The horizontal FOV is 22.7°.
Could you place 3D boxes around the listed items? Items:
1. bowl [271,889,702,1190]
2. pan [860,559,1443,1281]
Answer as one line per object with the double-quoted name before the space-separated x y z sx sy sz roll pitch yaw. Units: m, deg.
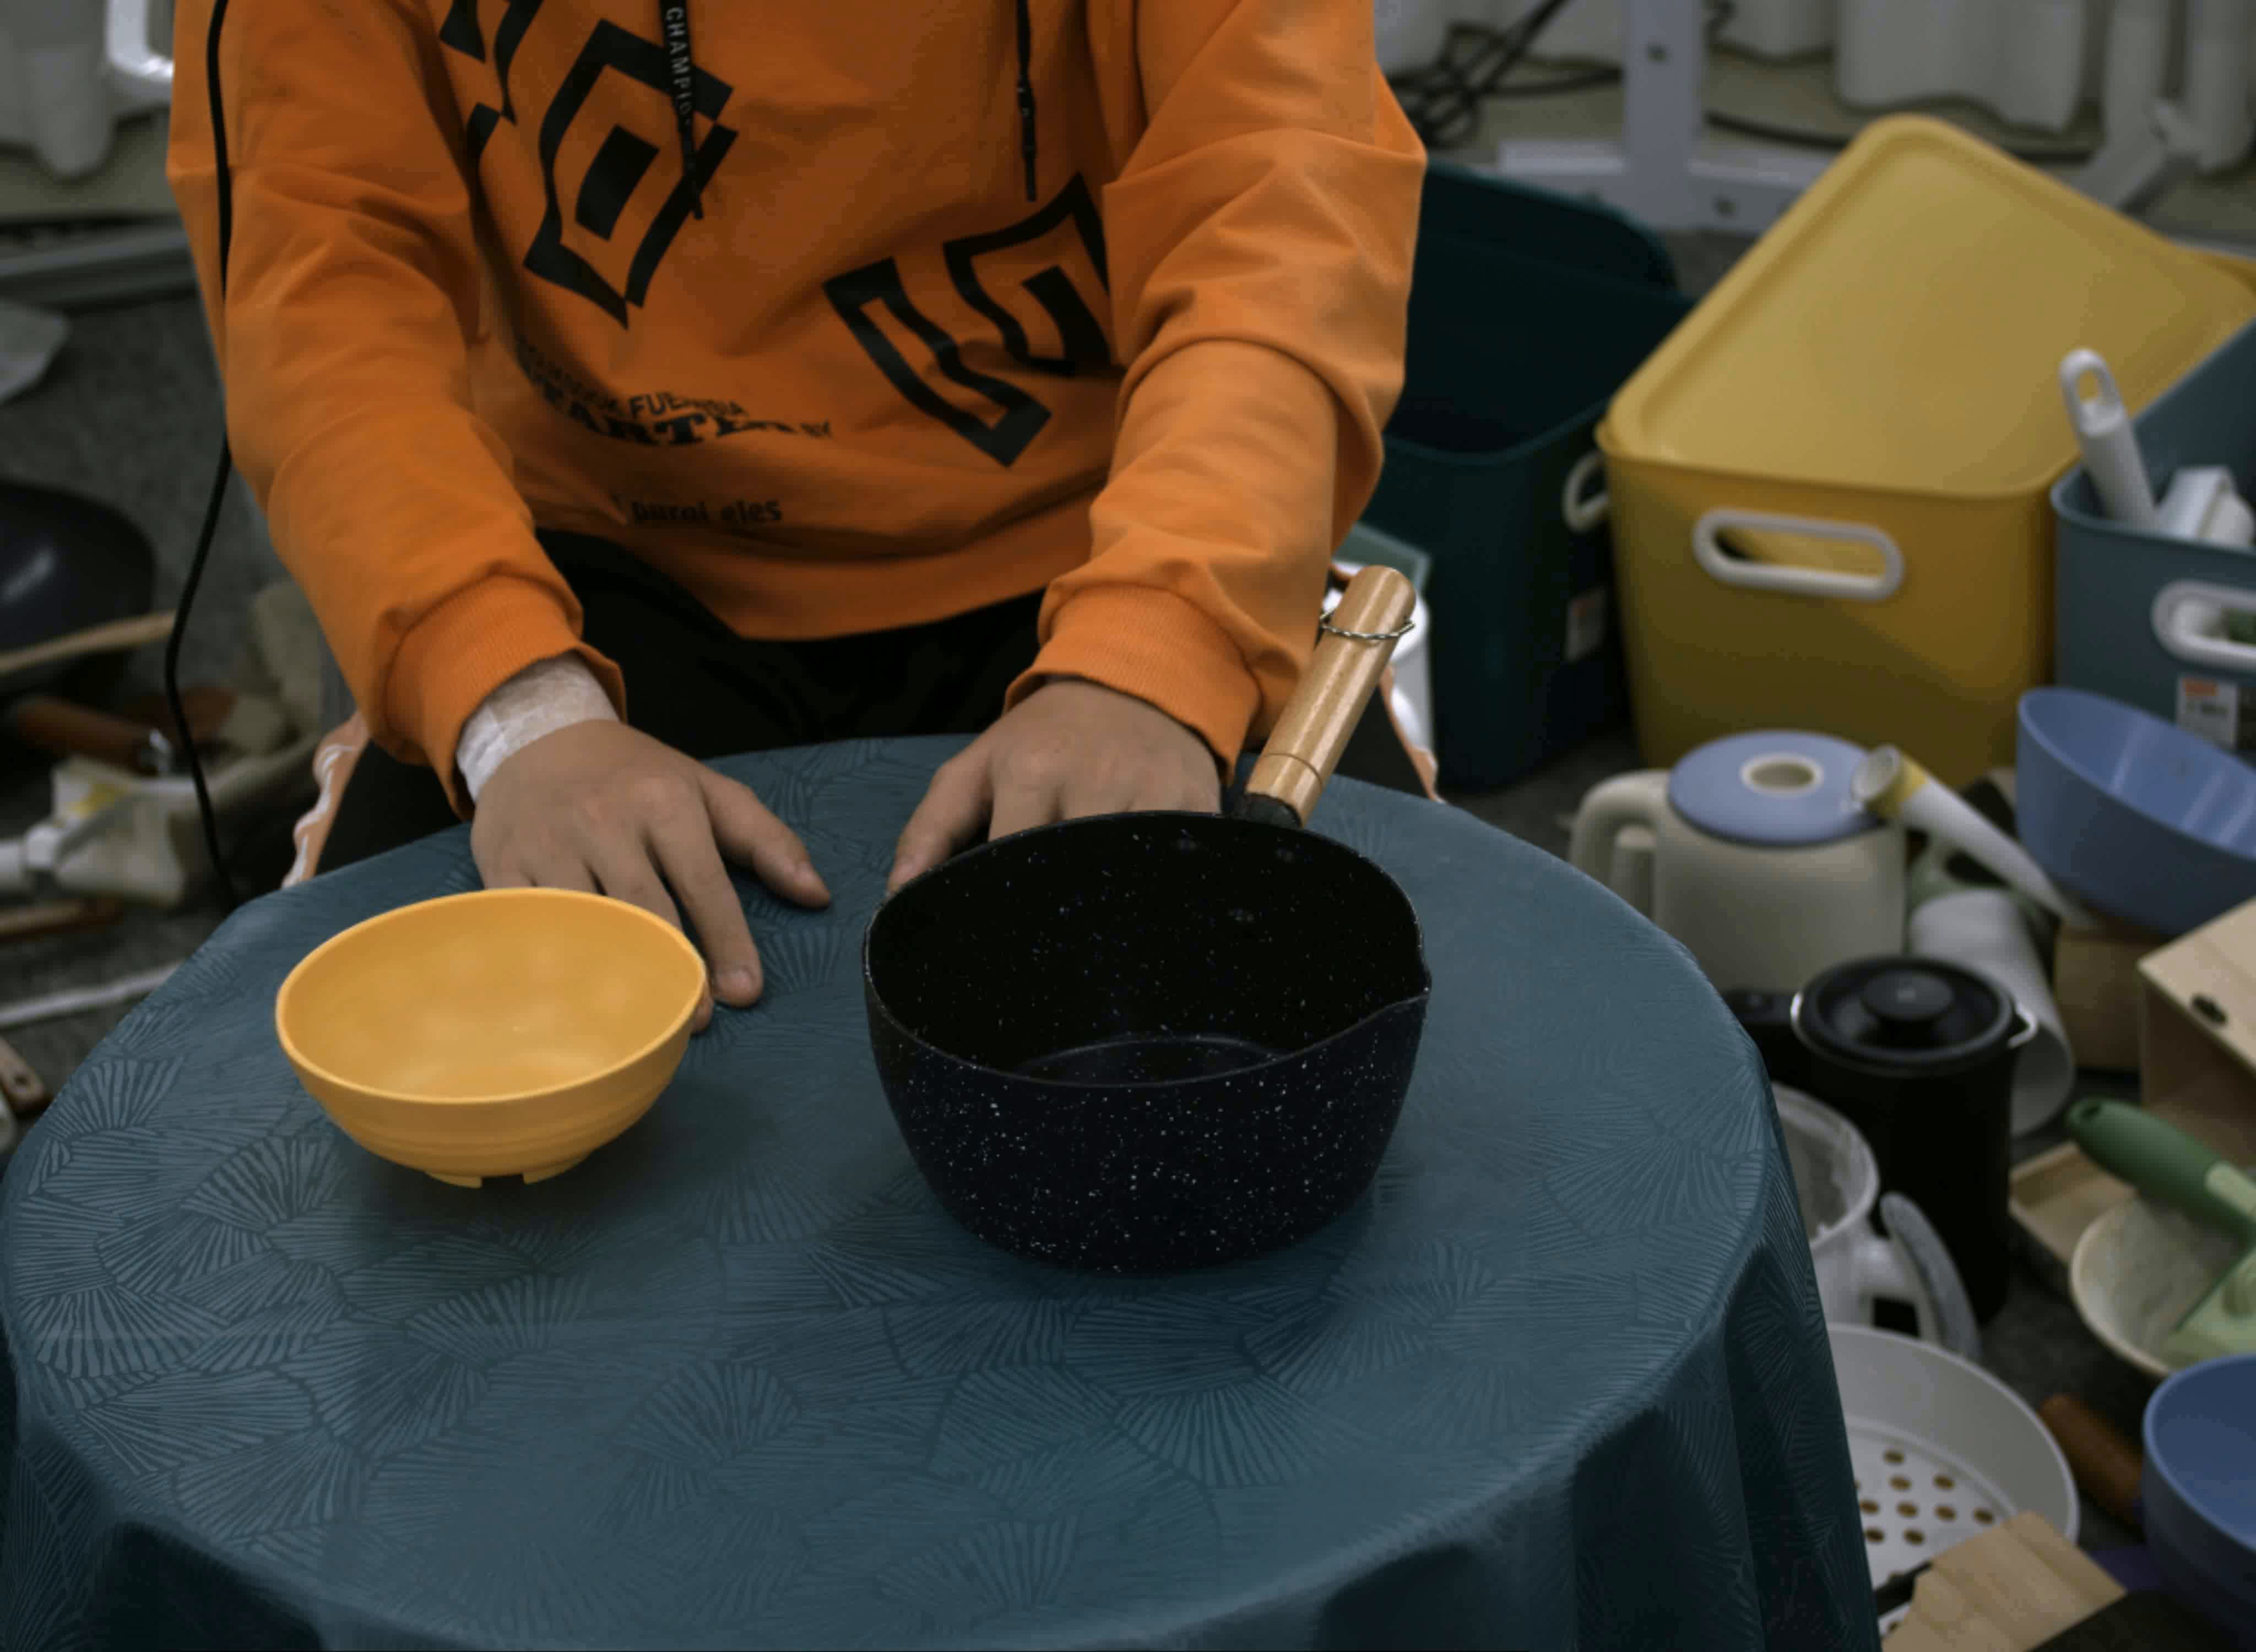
"bowl" -0.214 0.081 1.899 0.144 0.059 0.147 -1 27 1
"pan" 0.034 0.028 1.922 0.206 0.107 0.349 6 30 20
